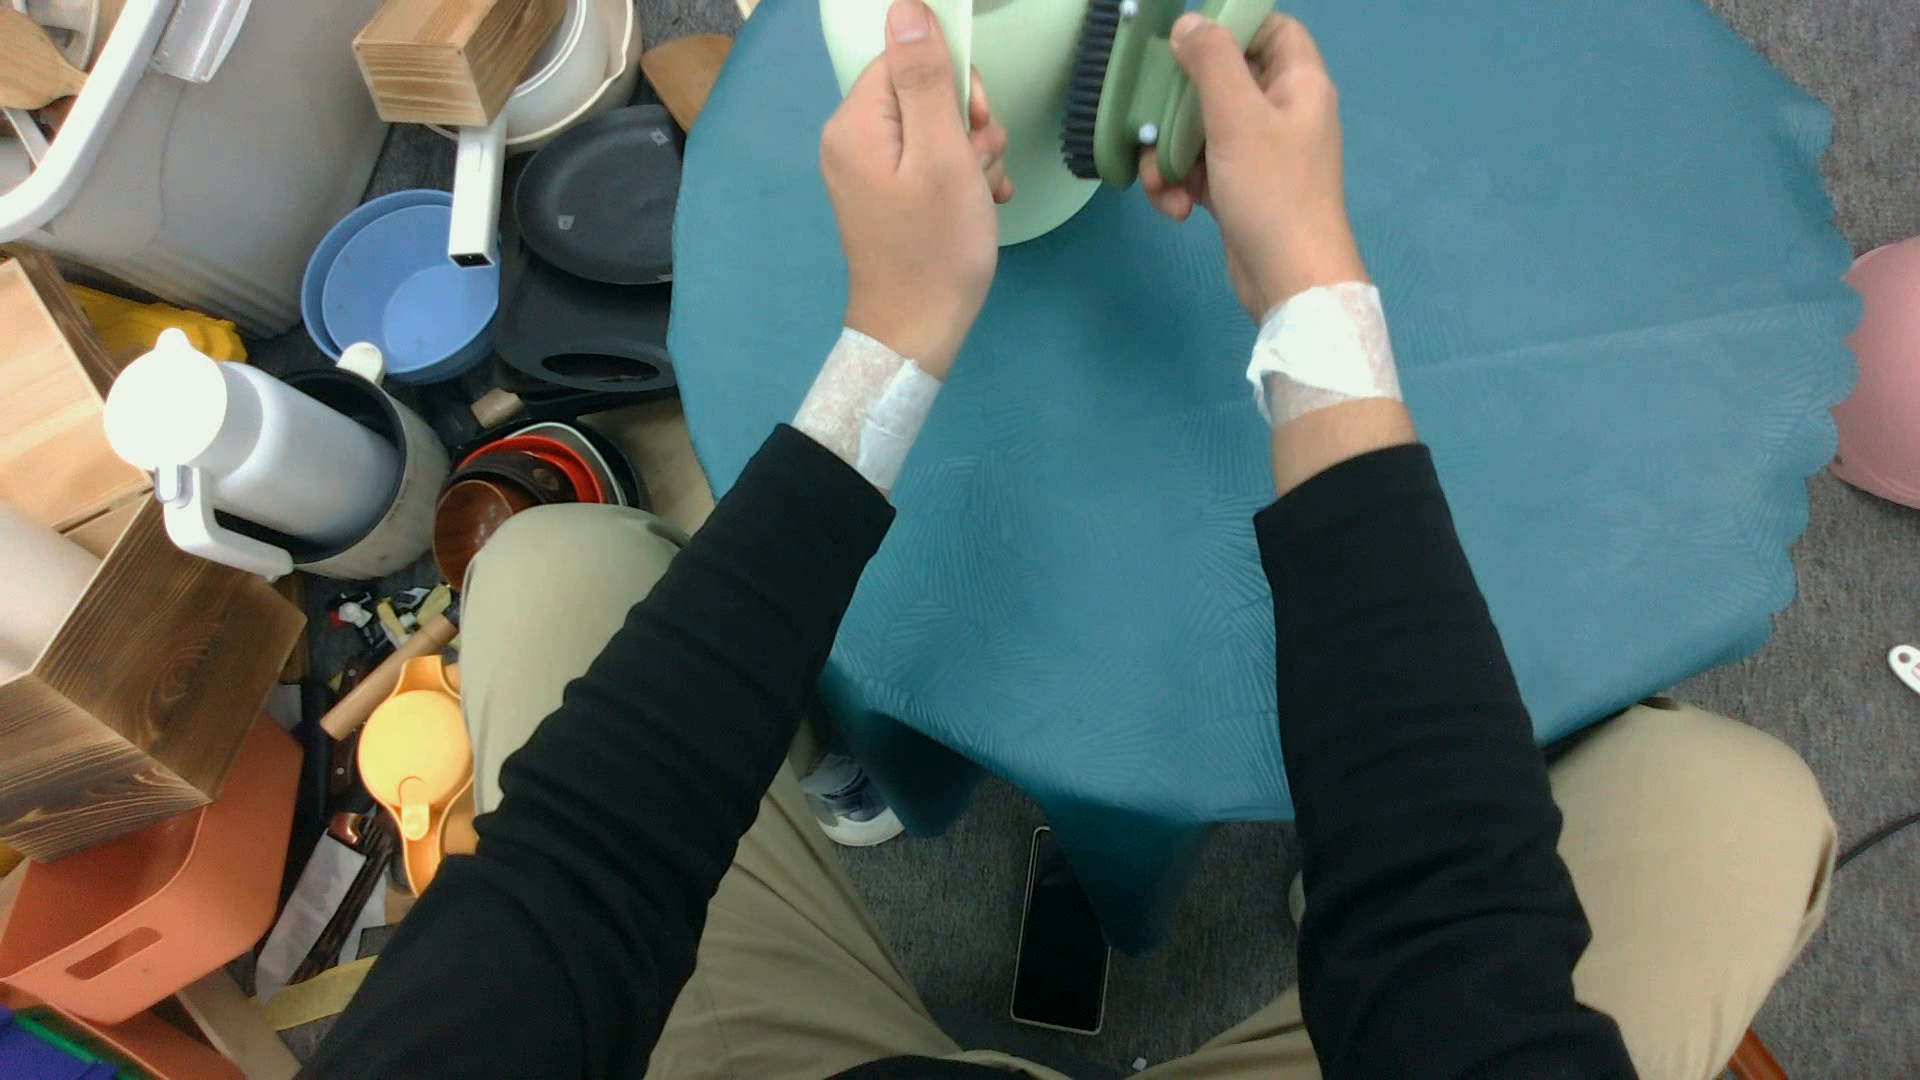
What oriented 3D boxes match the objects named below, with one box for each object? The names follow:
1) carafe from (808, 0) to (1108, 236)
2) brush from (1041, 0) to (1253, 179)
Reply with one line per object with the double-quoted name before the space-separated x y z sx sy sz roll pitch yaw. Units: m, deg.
"carafe" -0.002 -0.242 0.644 0.144 0.256 0.187 3 81 6
"brush" 0.079 -0.221 0.612 0.076 0.059 0.123 29 93 22
